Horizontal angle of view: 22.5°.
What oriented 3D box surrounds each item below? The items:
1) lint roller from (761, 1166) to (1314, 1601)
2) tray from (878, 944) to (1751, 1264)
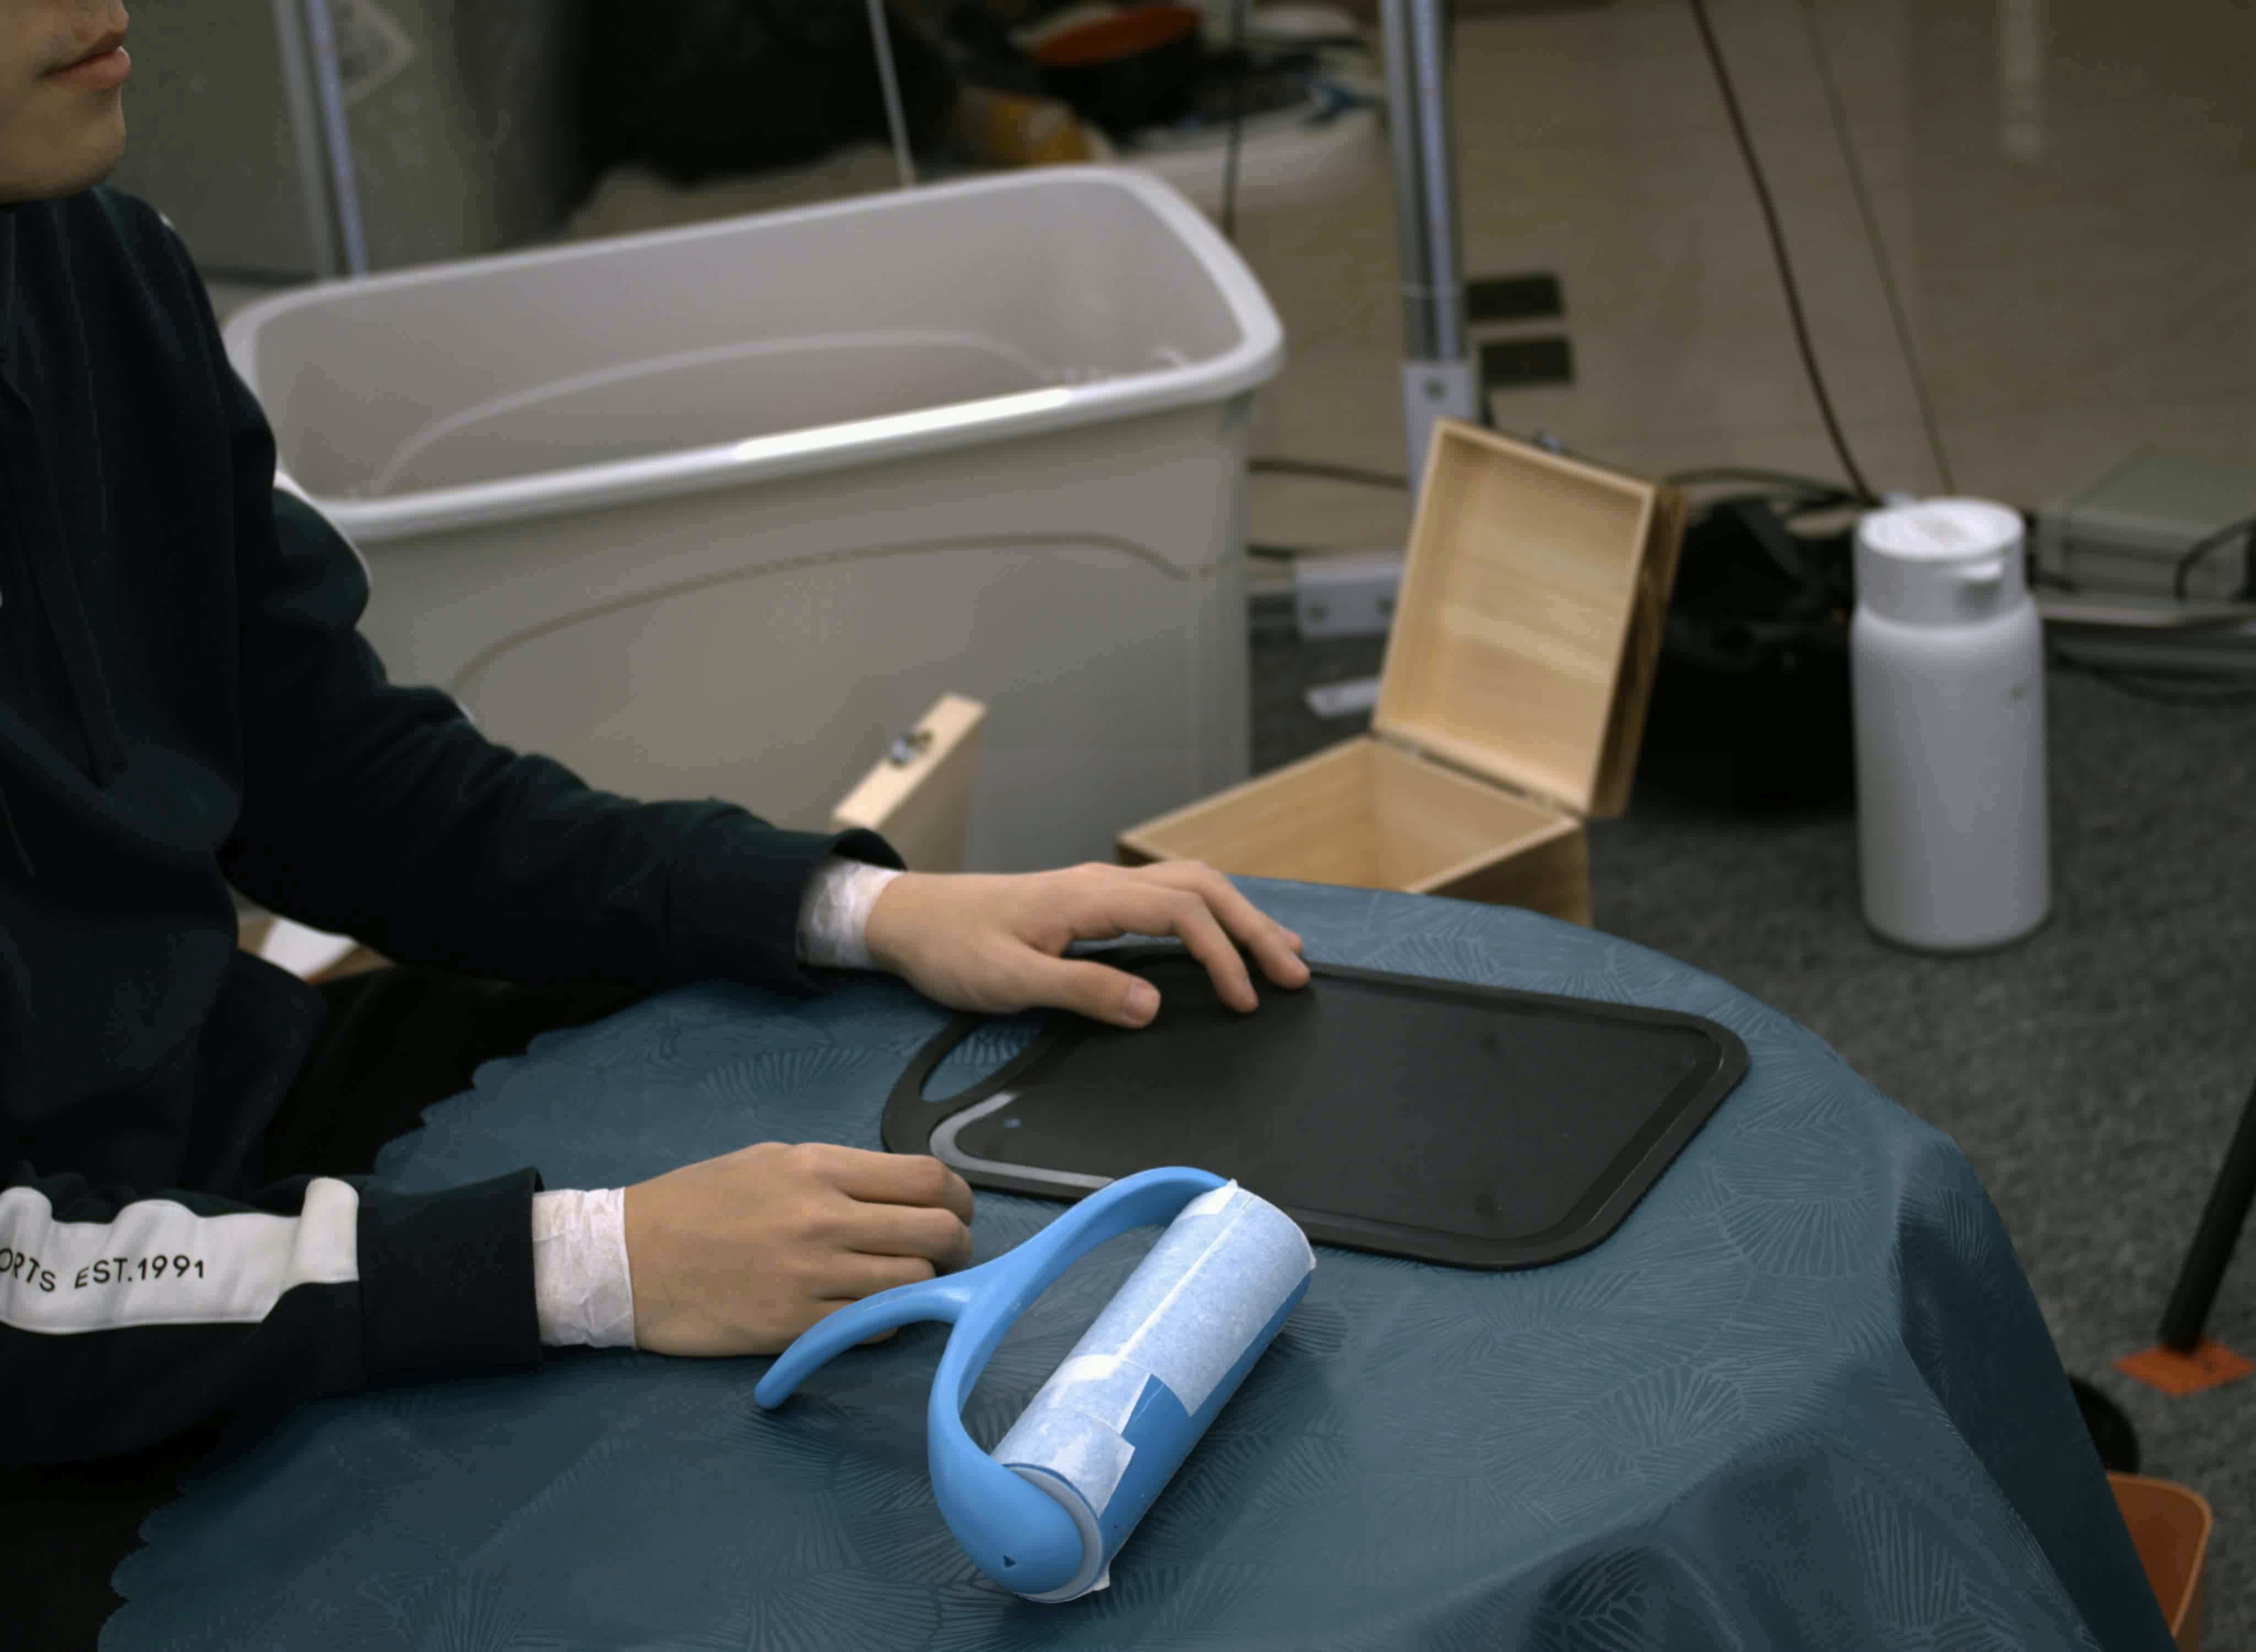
[{"bbox_3d":[-0.050,0.188,1.982,0.180,0.069,0.225,5,29,20],"label":"lint roller"},{"bbox_3d":[0.064,0.103,2.198,0.324,0.010,0.208,7,28,28],"label":"tray"}]
